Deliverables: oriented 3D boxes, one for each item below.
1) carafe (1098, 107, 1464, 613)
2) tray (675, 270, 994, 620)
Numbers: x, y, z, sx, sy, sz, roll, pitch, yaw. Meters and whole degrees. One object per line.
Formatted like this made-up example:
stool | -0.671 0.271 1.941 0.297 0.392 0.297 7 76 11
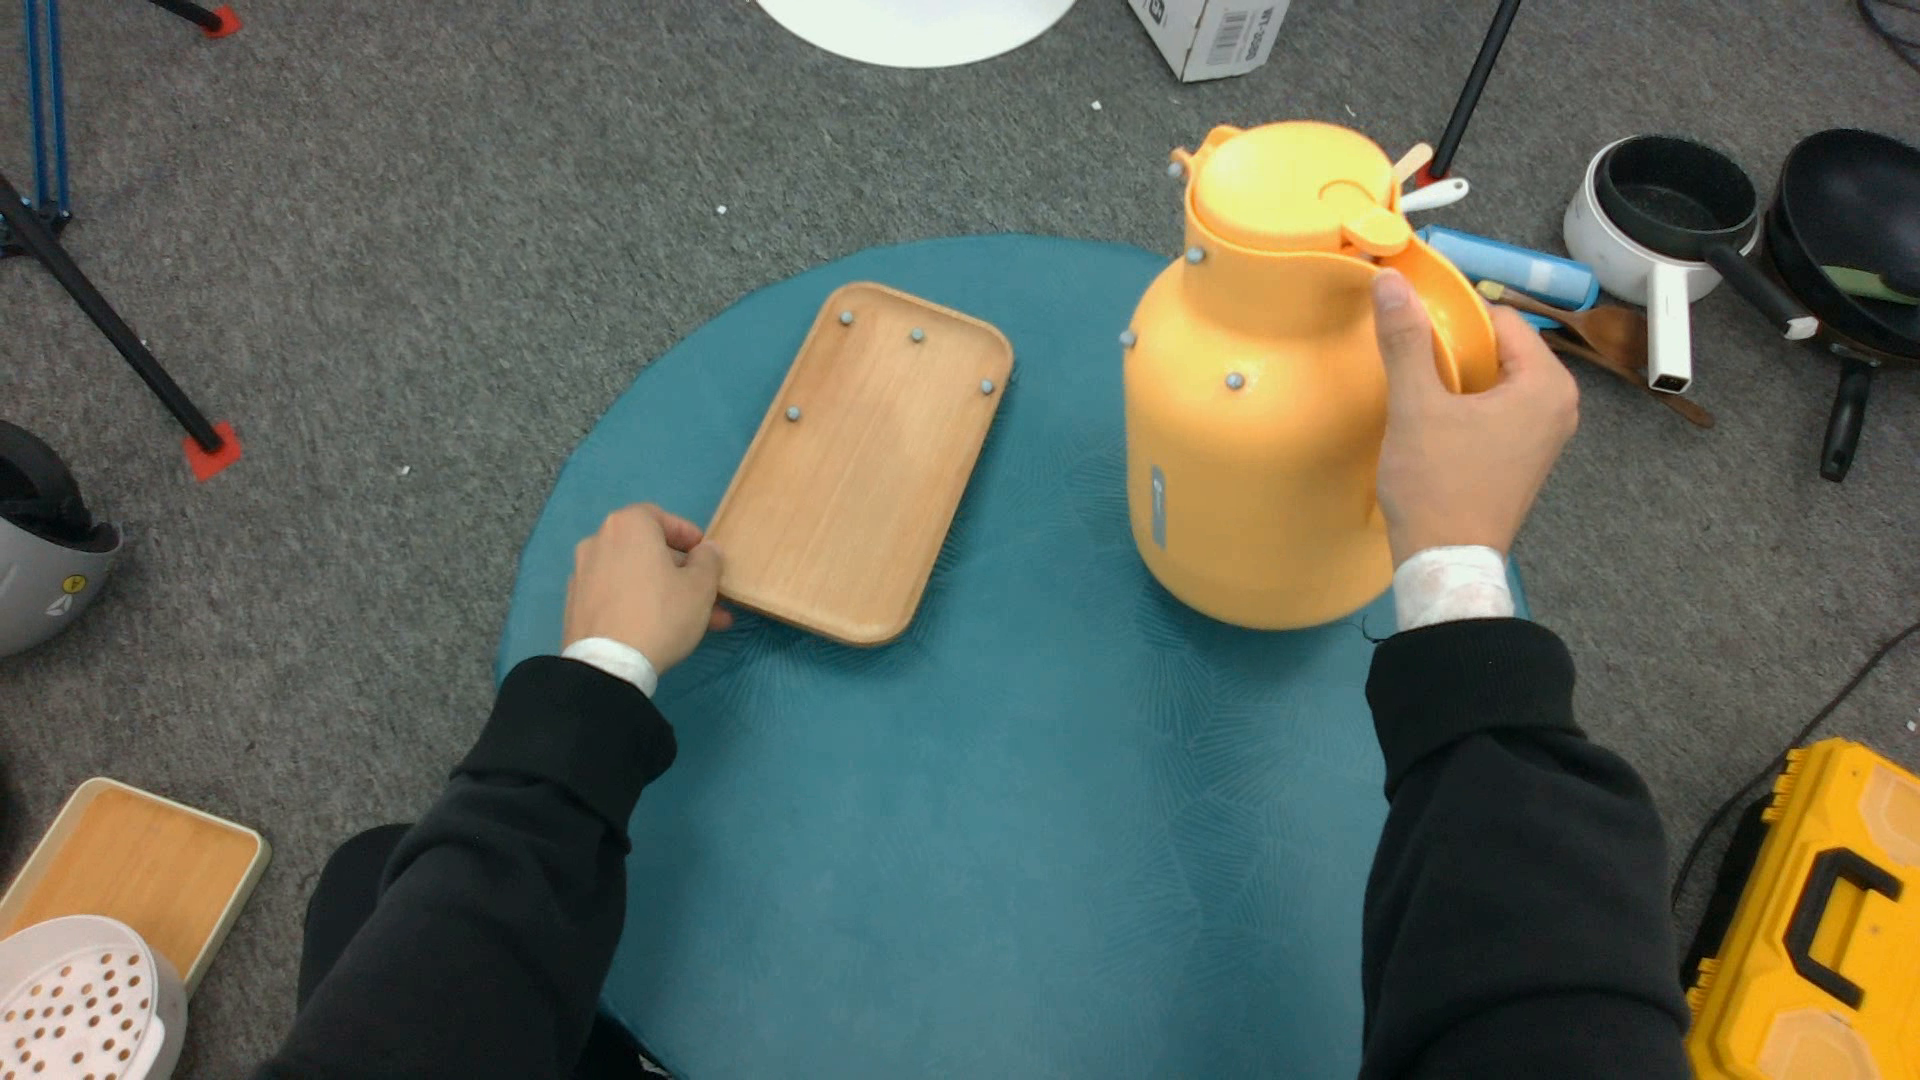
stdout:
carafe | 0.164 -0.082 0.706 0.164 0.259 0.202 -35 47 -16
tray | -0.068 -0.064 0.821 0.130 0.023 0.252 16 55 7
